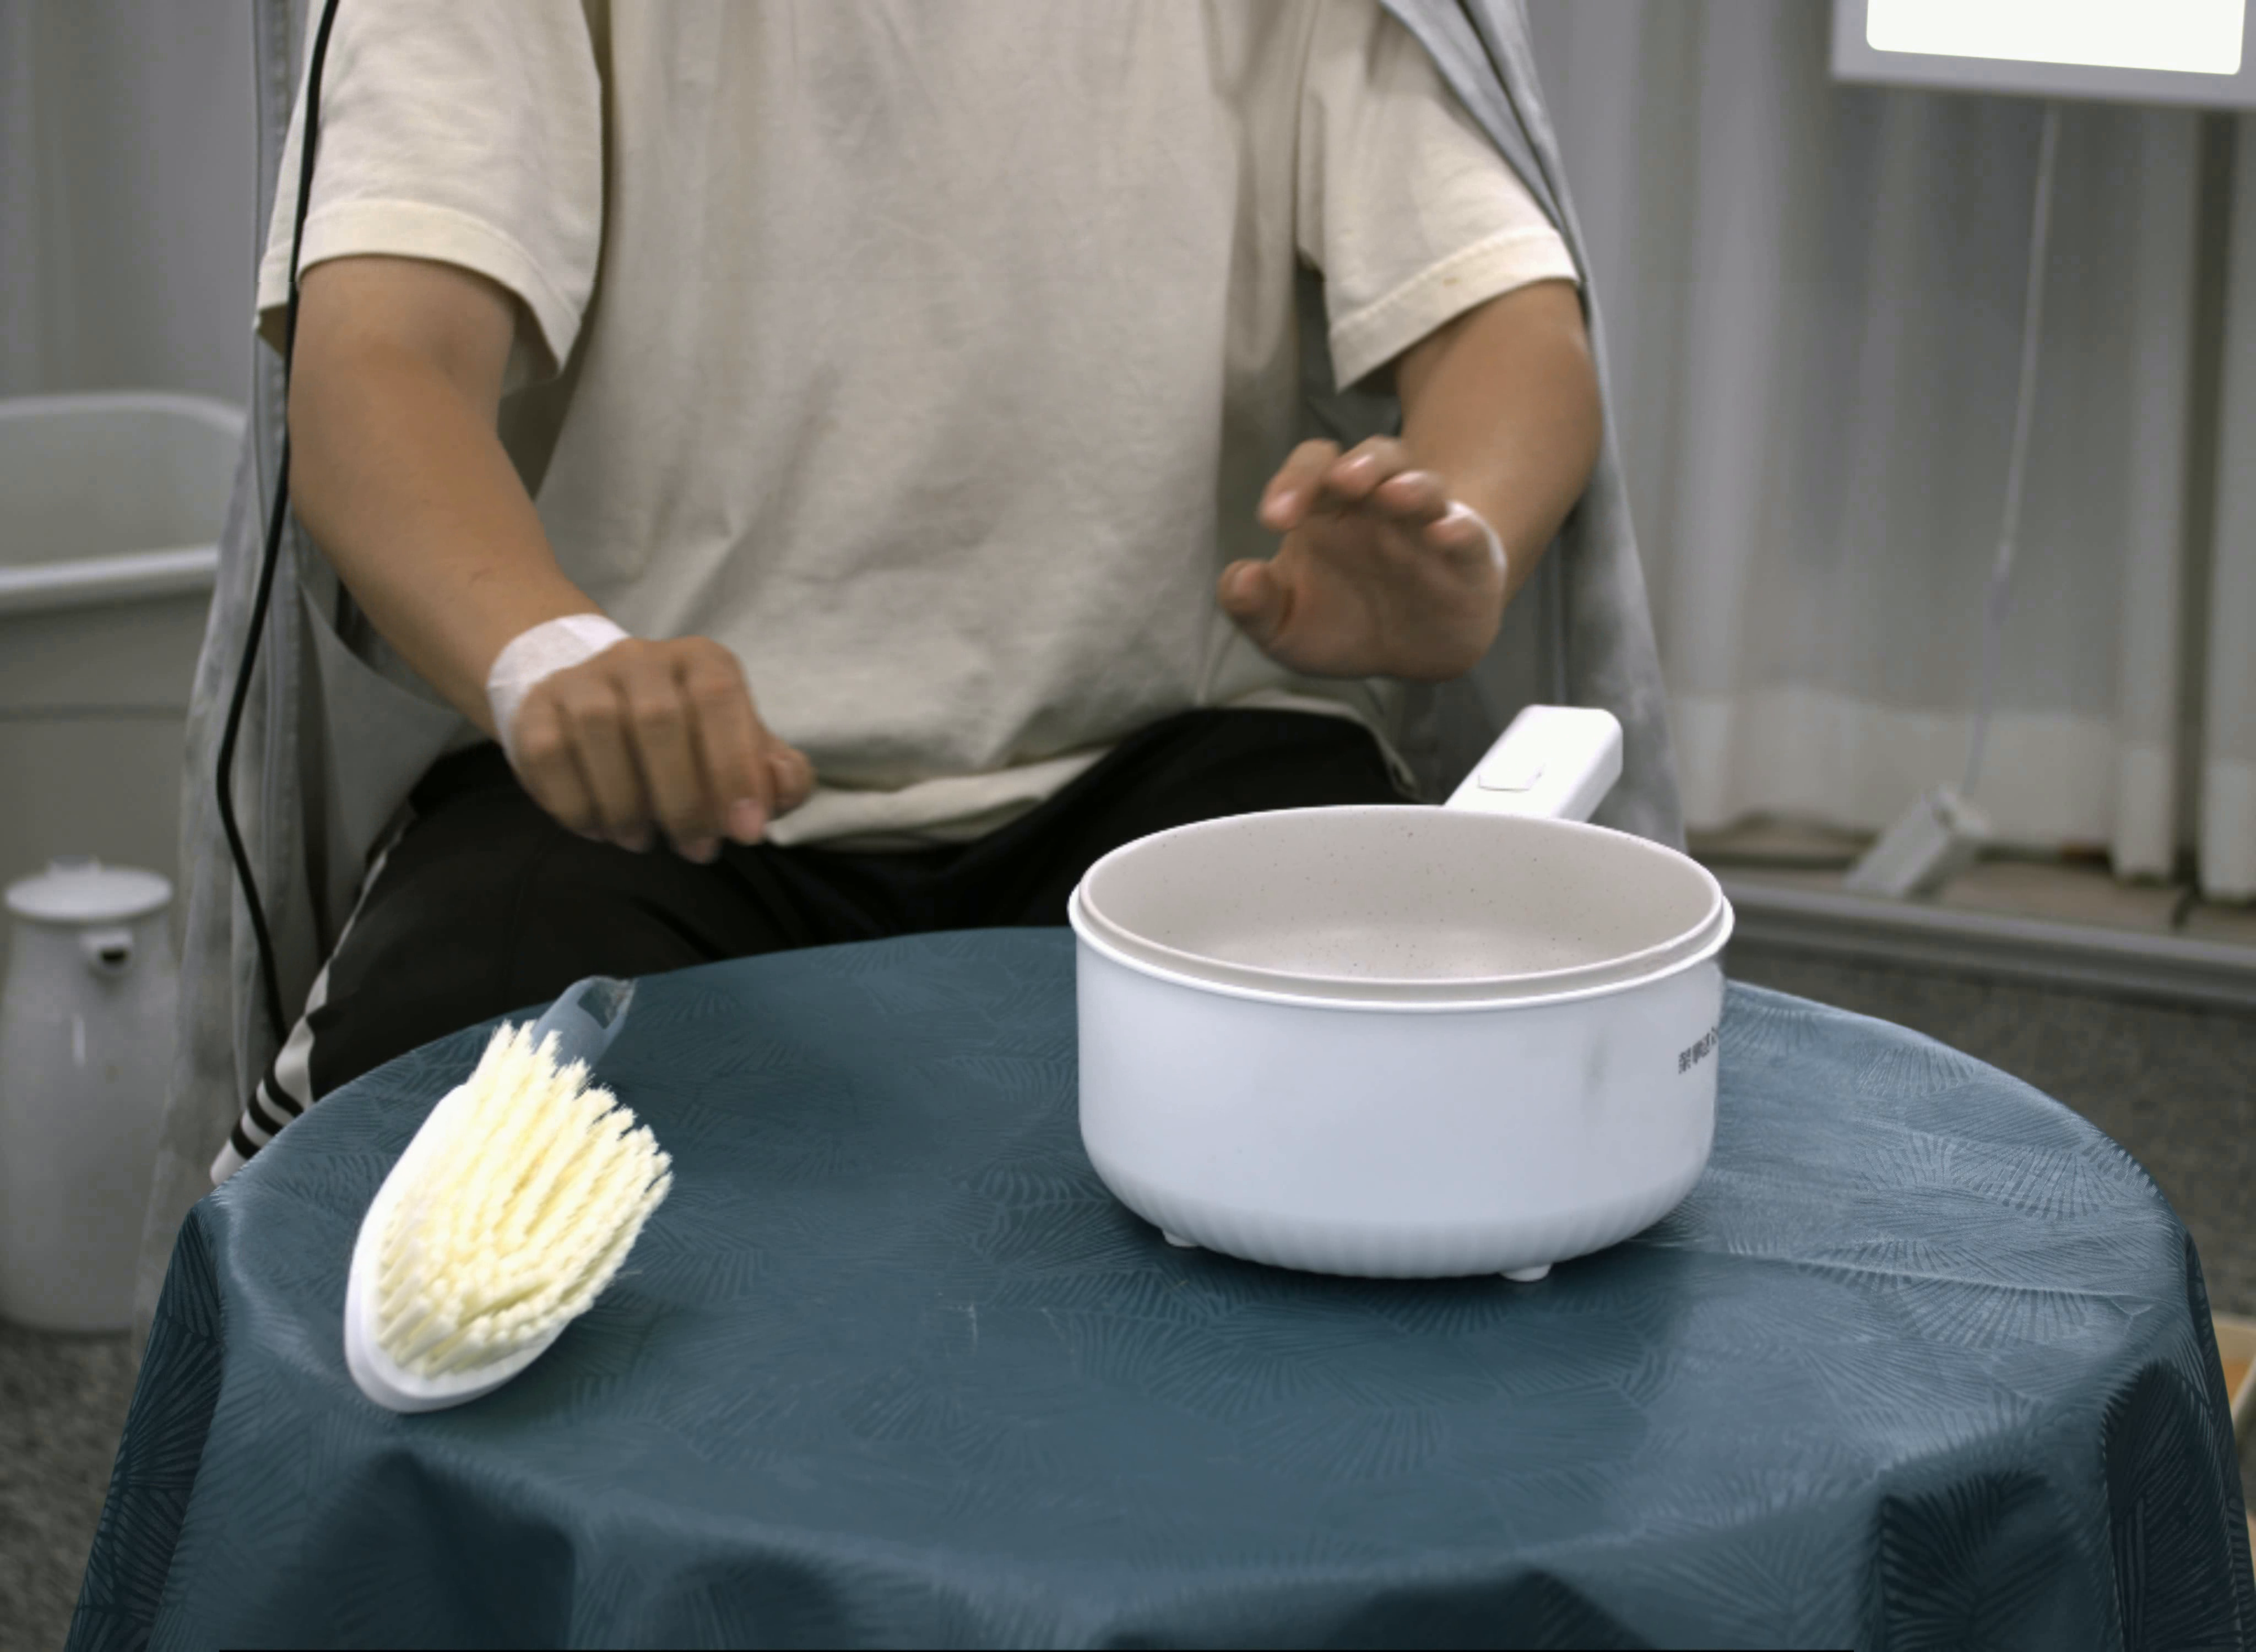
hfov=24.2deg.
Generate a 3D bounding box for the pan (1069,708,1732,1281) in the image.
[{"bbox_3d":[0.103,0.048,1.675,0.199,0.103,0.354,4,15,15],"label":"pan"}]

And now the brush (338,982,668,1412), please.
[{"bbox_3d":[-0.170,0.082,1.573,0.084,0.084,0.324,-5,16,7],"label":"brush"}]
